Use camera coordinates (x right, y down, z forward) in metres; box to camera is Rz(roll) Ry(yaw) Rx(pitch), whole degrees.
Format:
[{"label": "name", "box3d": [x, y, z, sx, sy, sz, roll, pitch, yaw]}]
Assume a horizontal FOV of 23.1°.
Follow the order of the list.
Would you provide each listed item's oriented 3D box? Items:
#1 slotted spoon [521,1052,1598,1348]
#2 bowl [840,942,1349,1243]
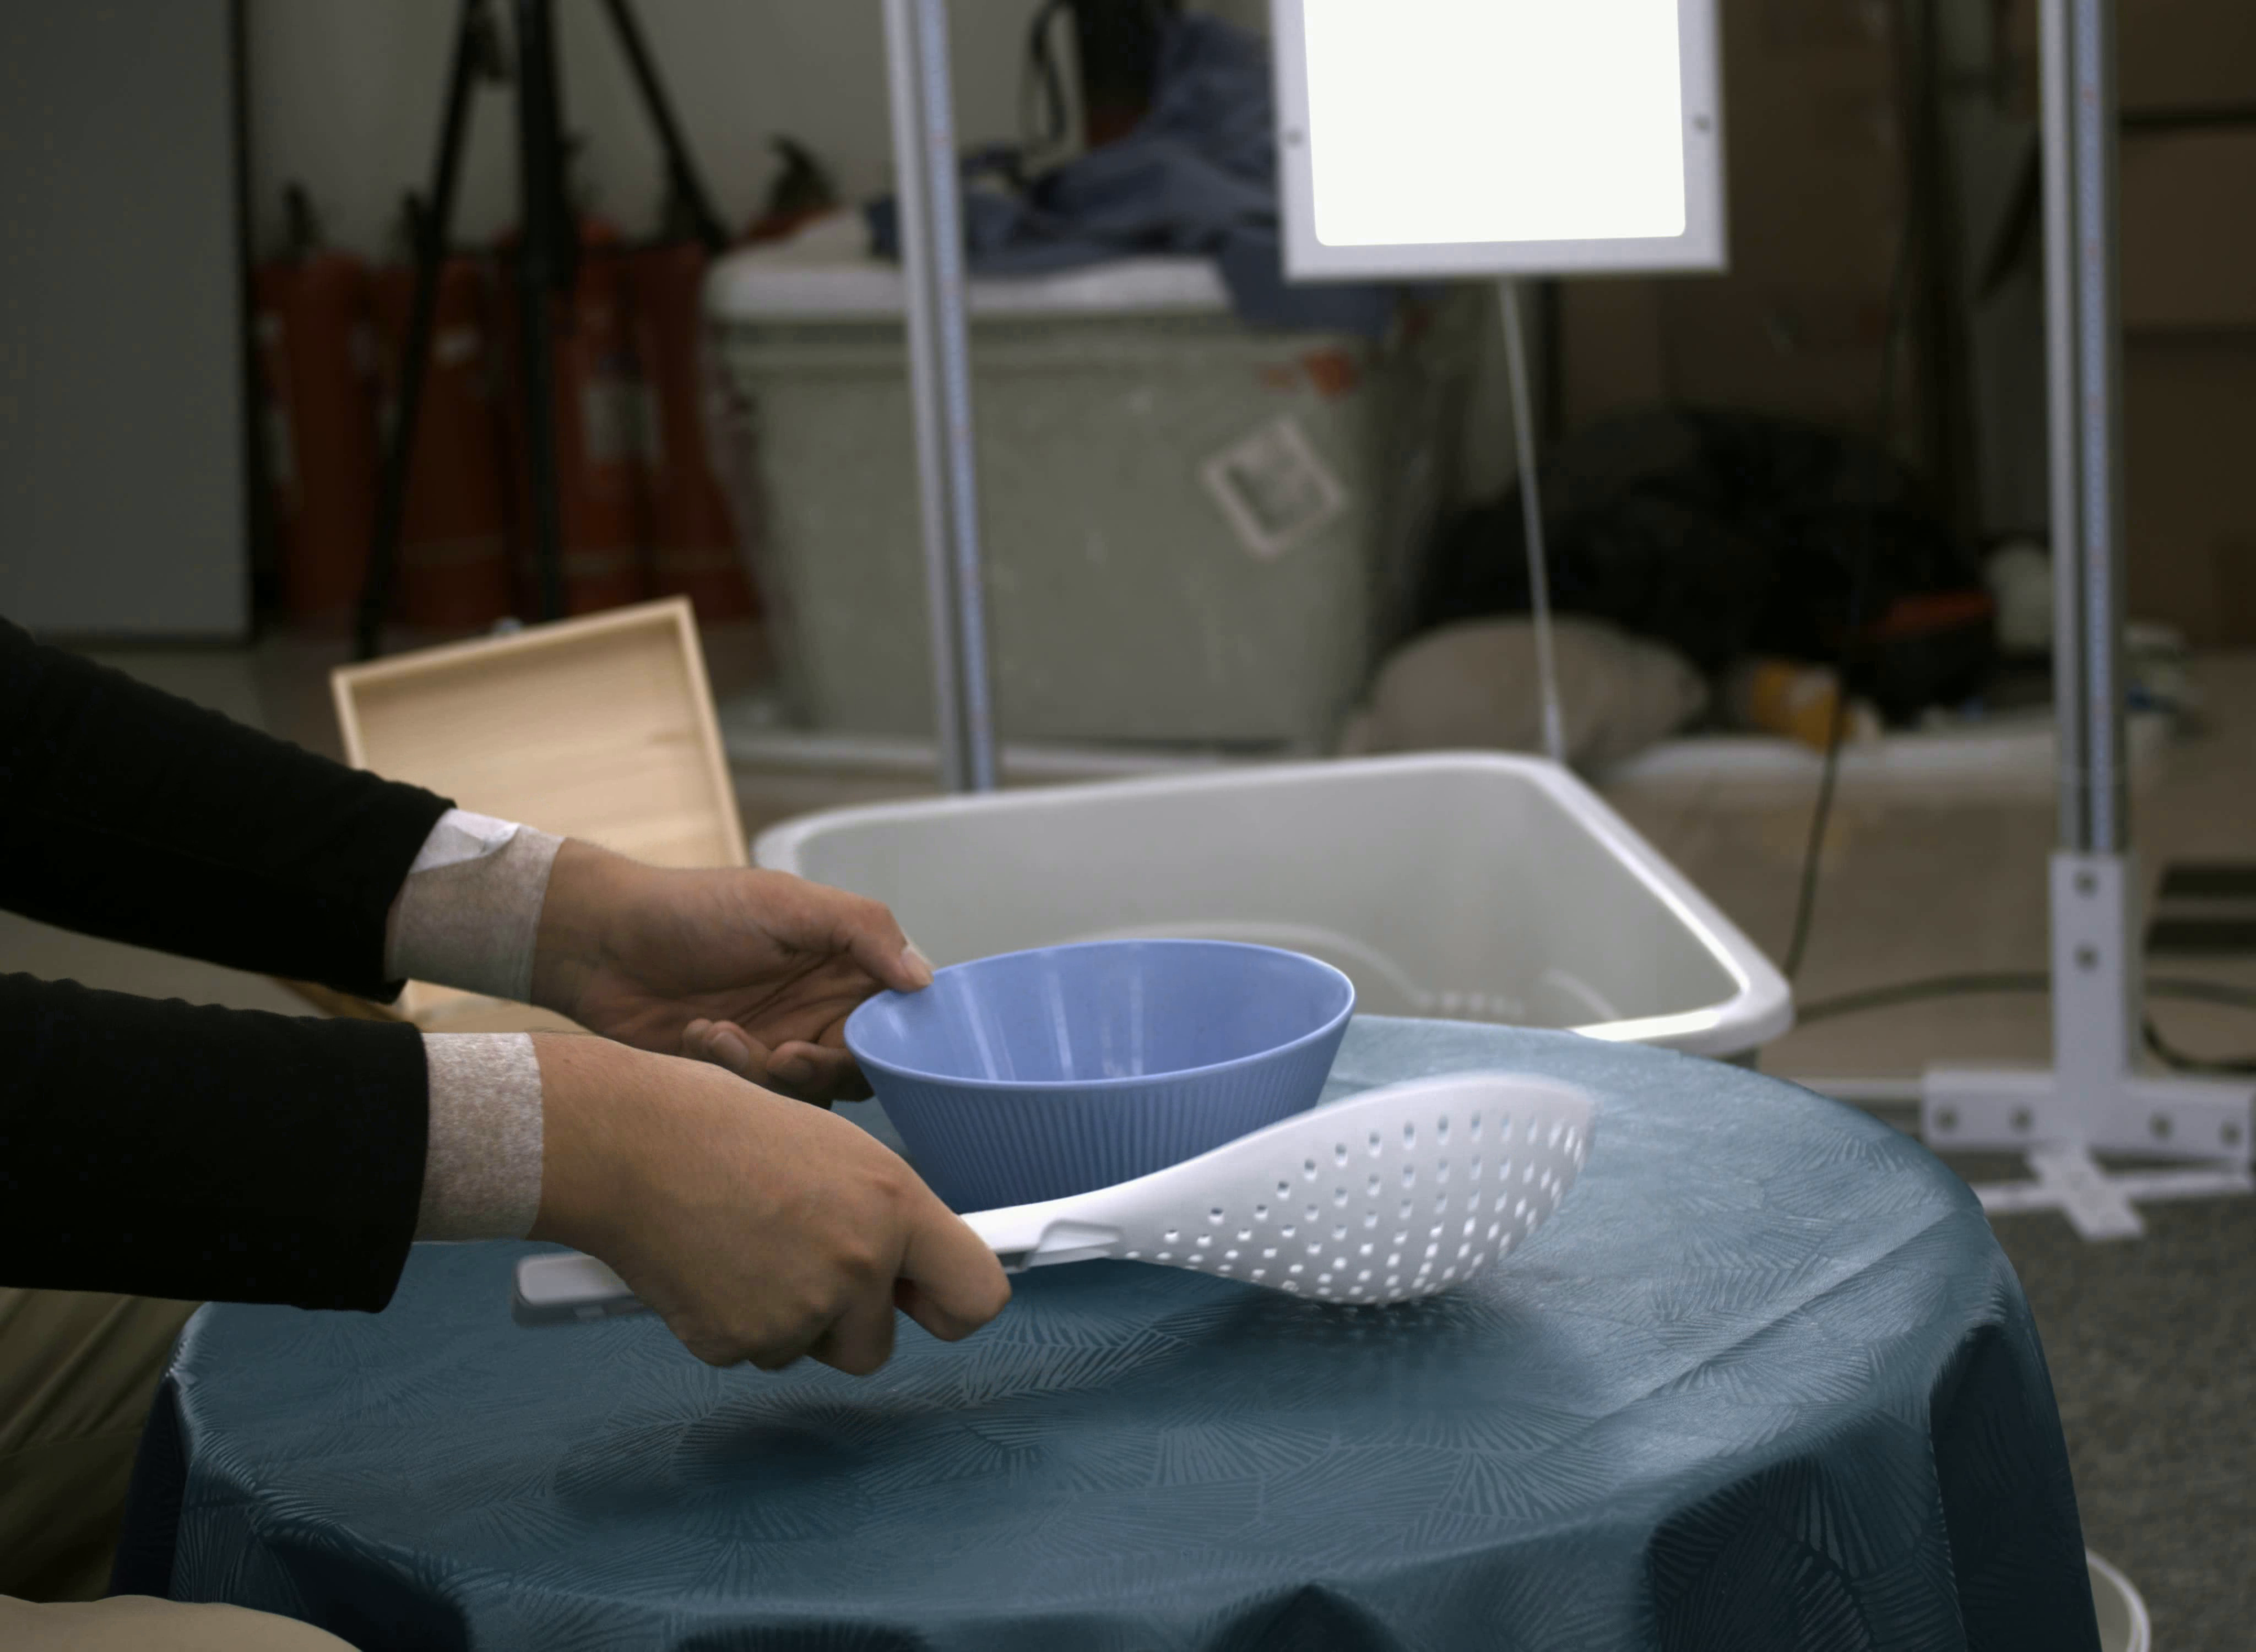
[{"label": "slotted spoon", "box3d": [-0.016, 0.125, 1.713, 0.345, 0.046, 0.137, -3, -28, -12]}, {"label": "bowl", "box3d": [-0.009, 0.094, 1.888, 0.175, 0.070, 0.176, -6, 14, 0]}]
